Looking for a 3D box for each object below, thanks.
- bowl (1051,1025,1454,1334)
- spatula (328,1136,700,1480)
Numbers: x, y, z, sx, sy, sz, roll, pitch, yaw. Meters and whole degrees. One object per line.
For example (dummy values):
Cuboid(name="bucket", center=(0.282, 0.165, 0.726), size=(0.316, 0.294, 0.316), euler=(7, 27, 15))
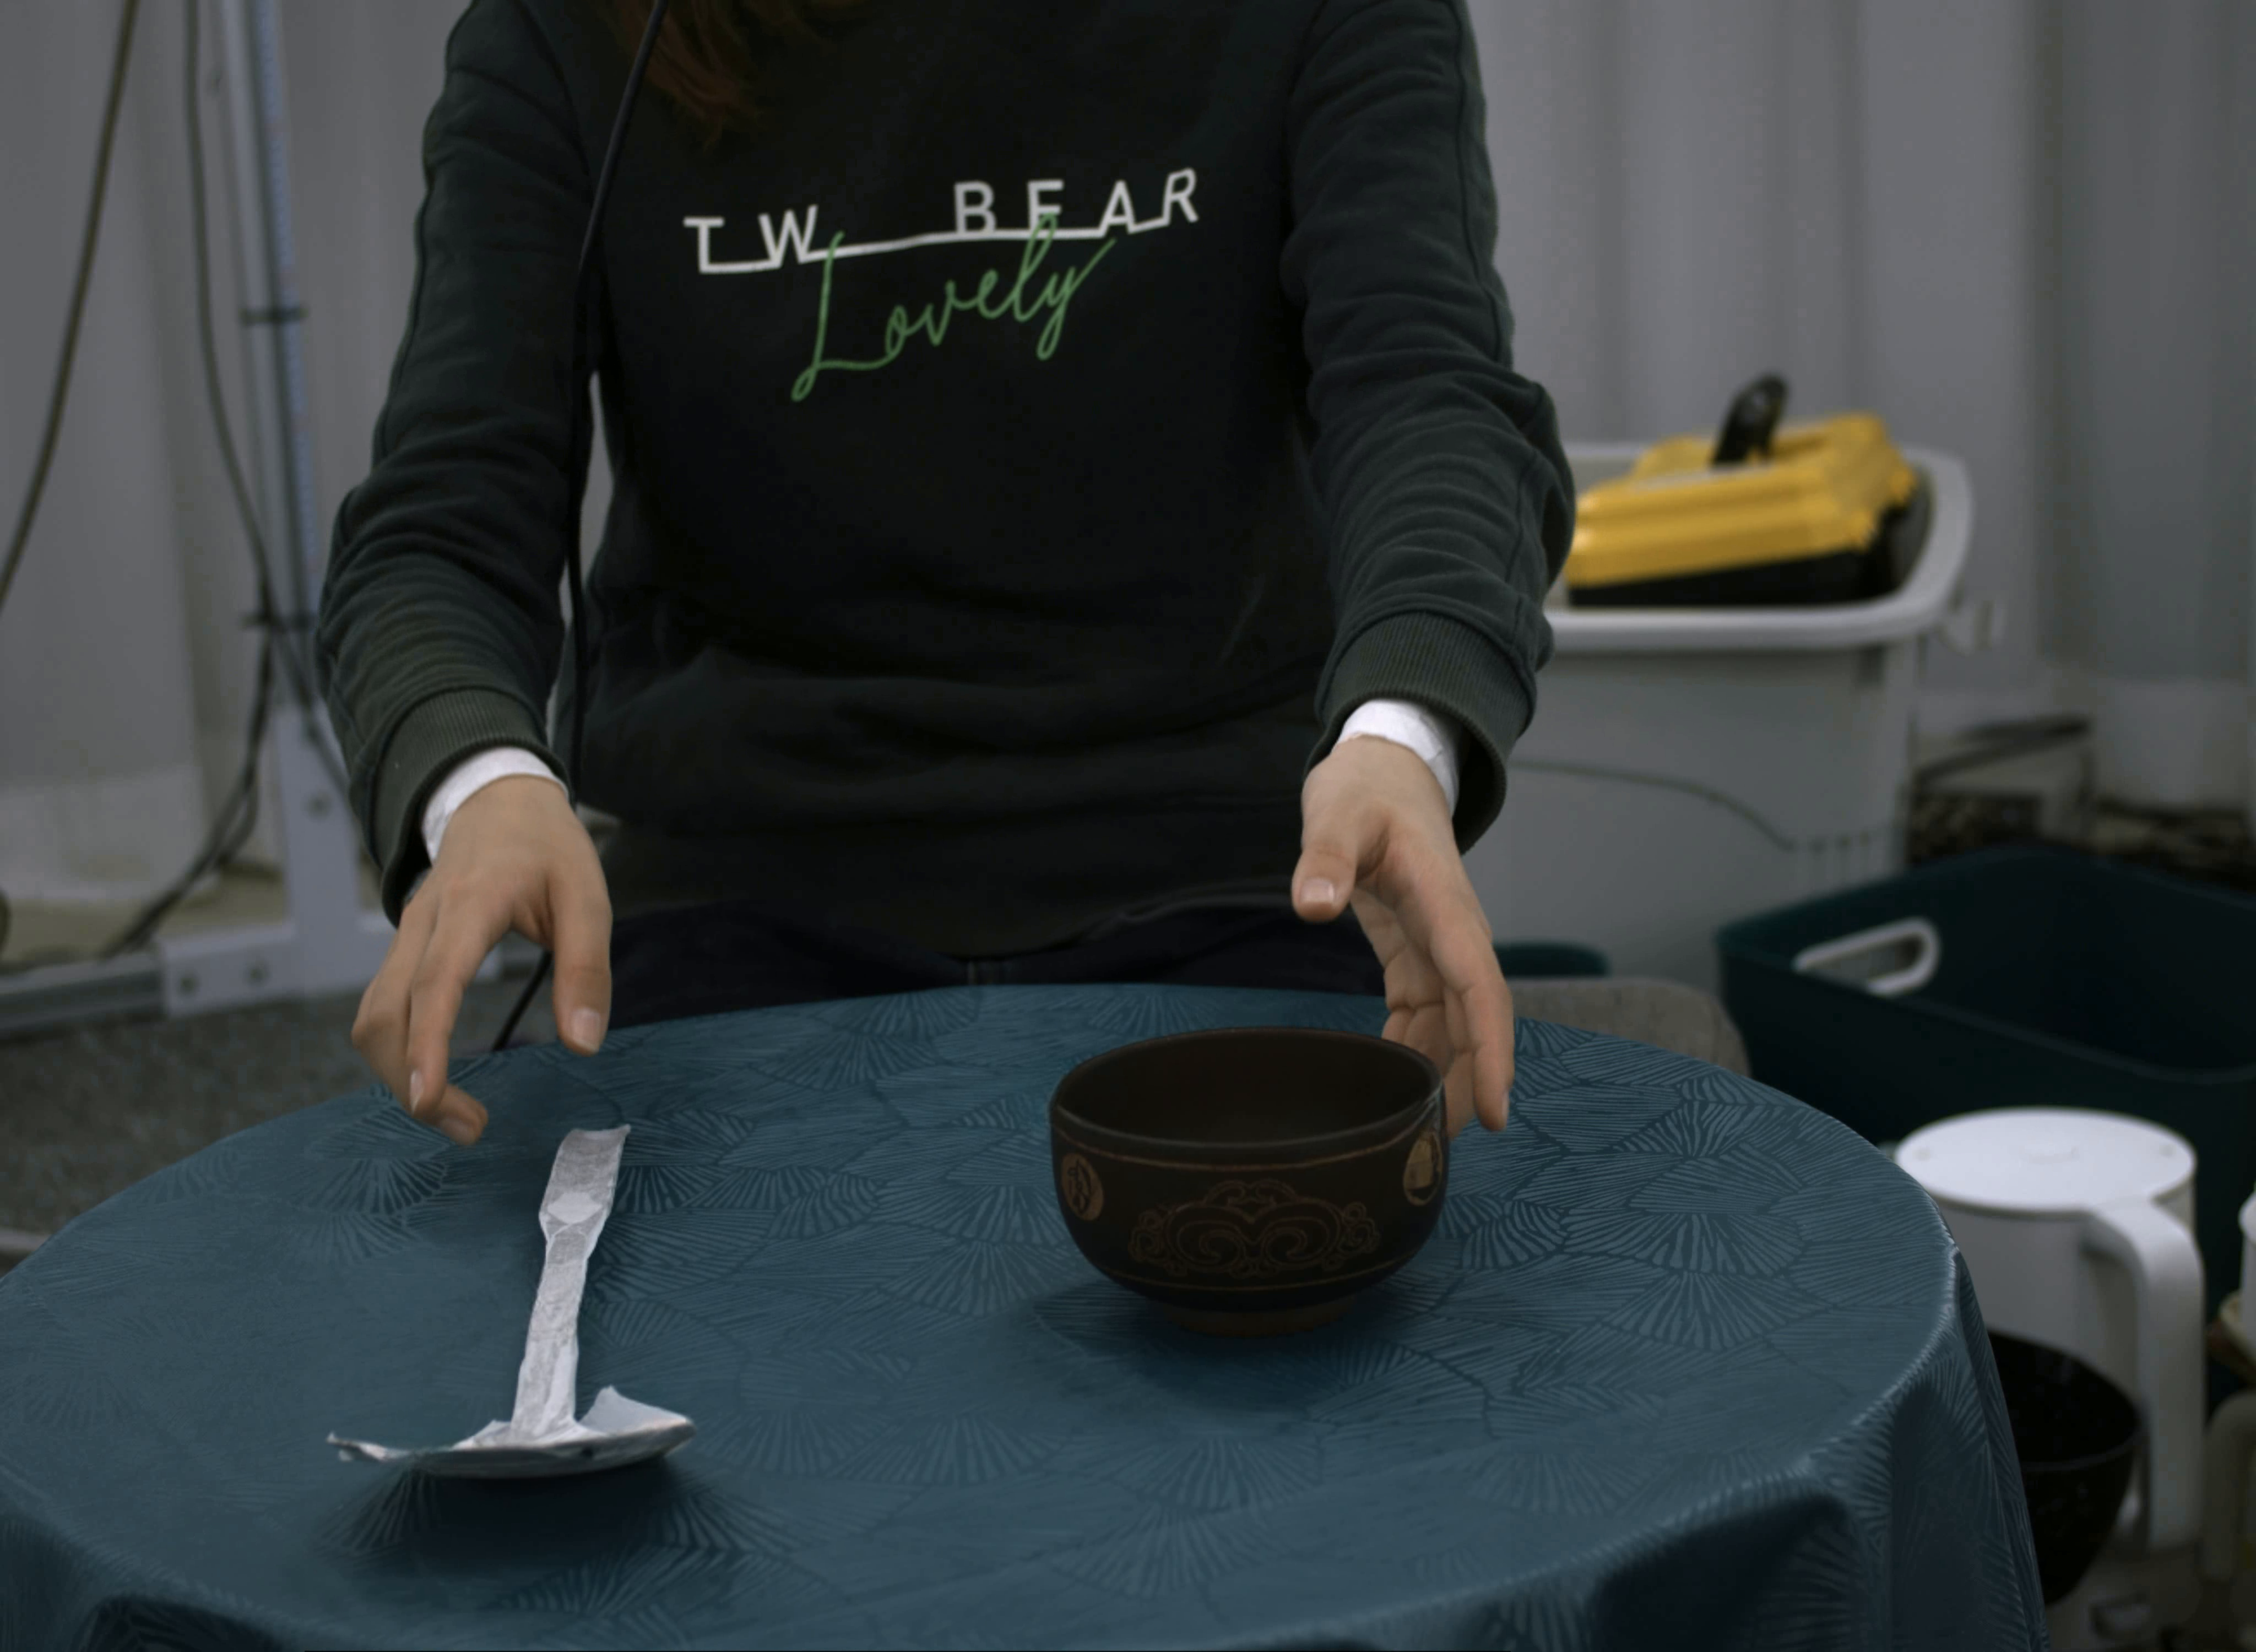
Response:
Cuboid(name="bowl", center=(0.037, 0.107, 1.600), size=(0.117, 0.069, 0.119), euler=(-1, 14, 0))
Cuboid(name="spatula", center=(-0.163, 0.132, 1.605), size=(0.098, 0.044, 0.367), euler=(-5, 15, 1))
